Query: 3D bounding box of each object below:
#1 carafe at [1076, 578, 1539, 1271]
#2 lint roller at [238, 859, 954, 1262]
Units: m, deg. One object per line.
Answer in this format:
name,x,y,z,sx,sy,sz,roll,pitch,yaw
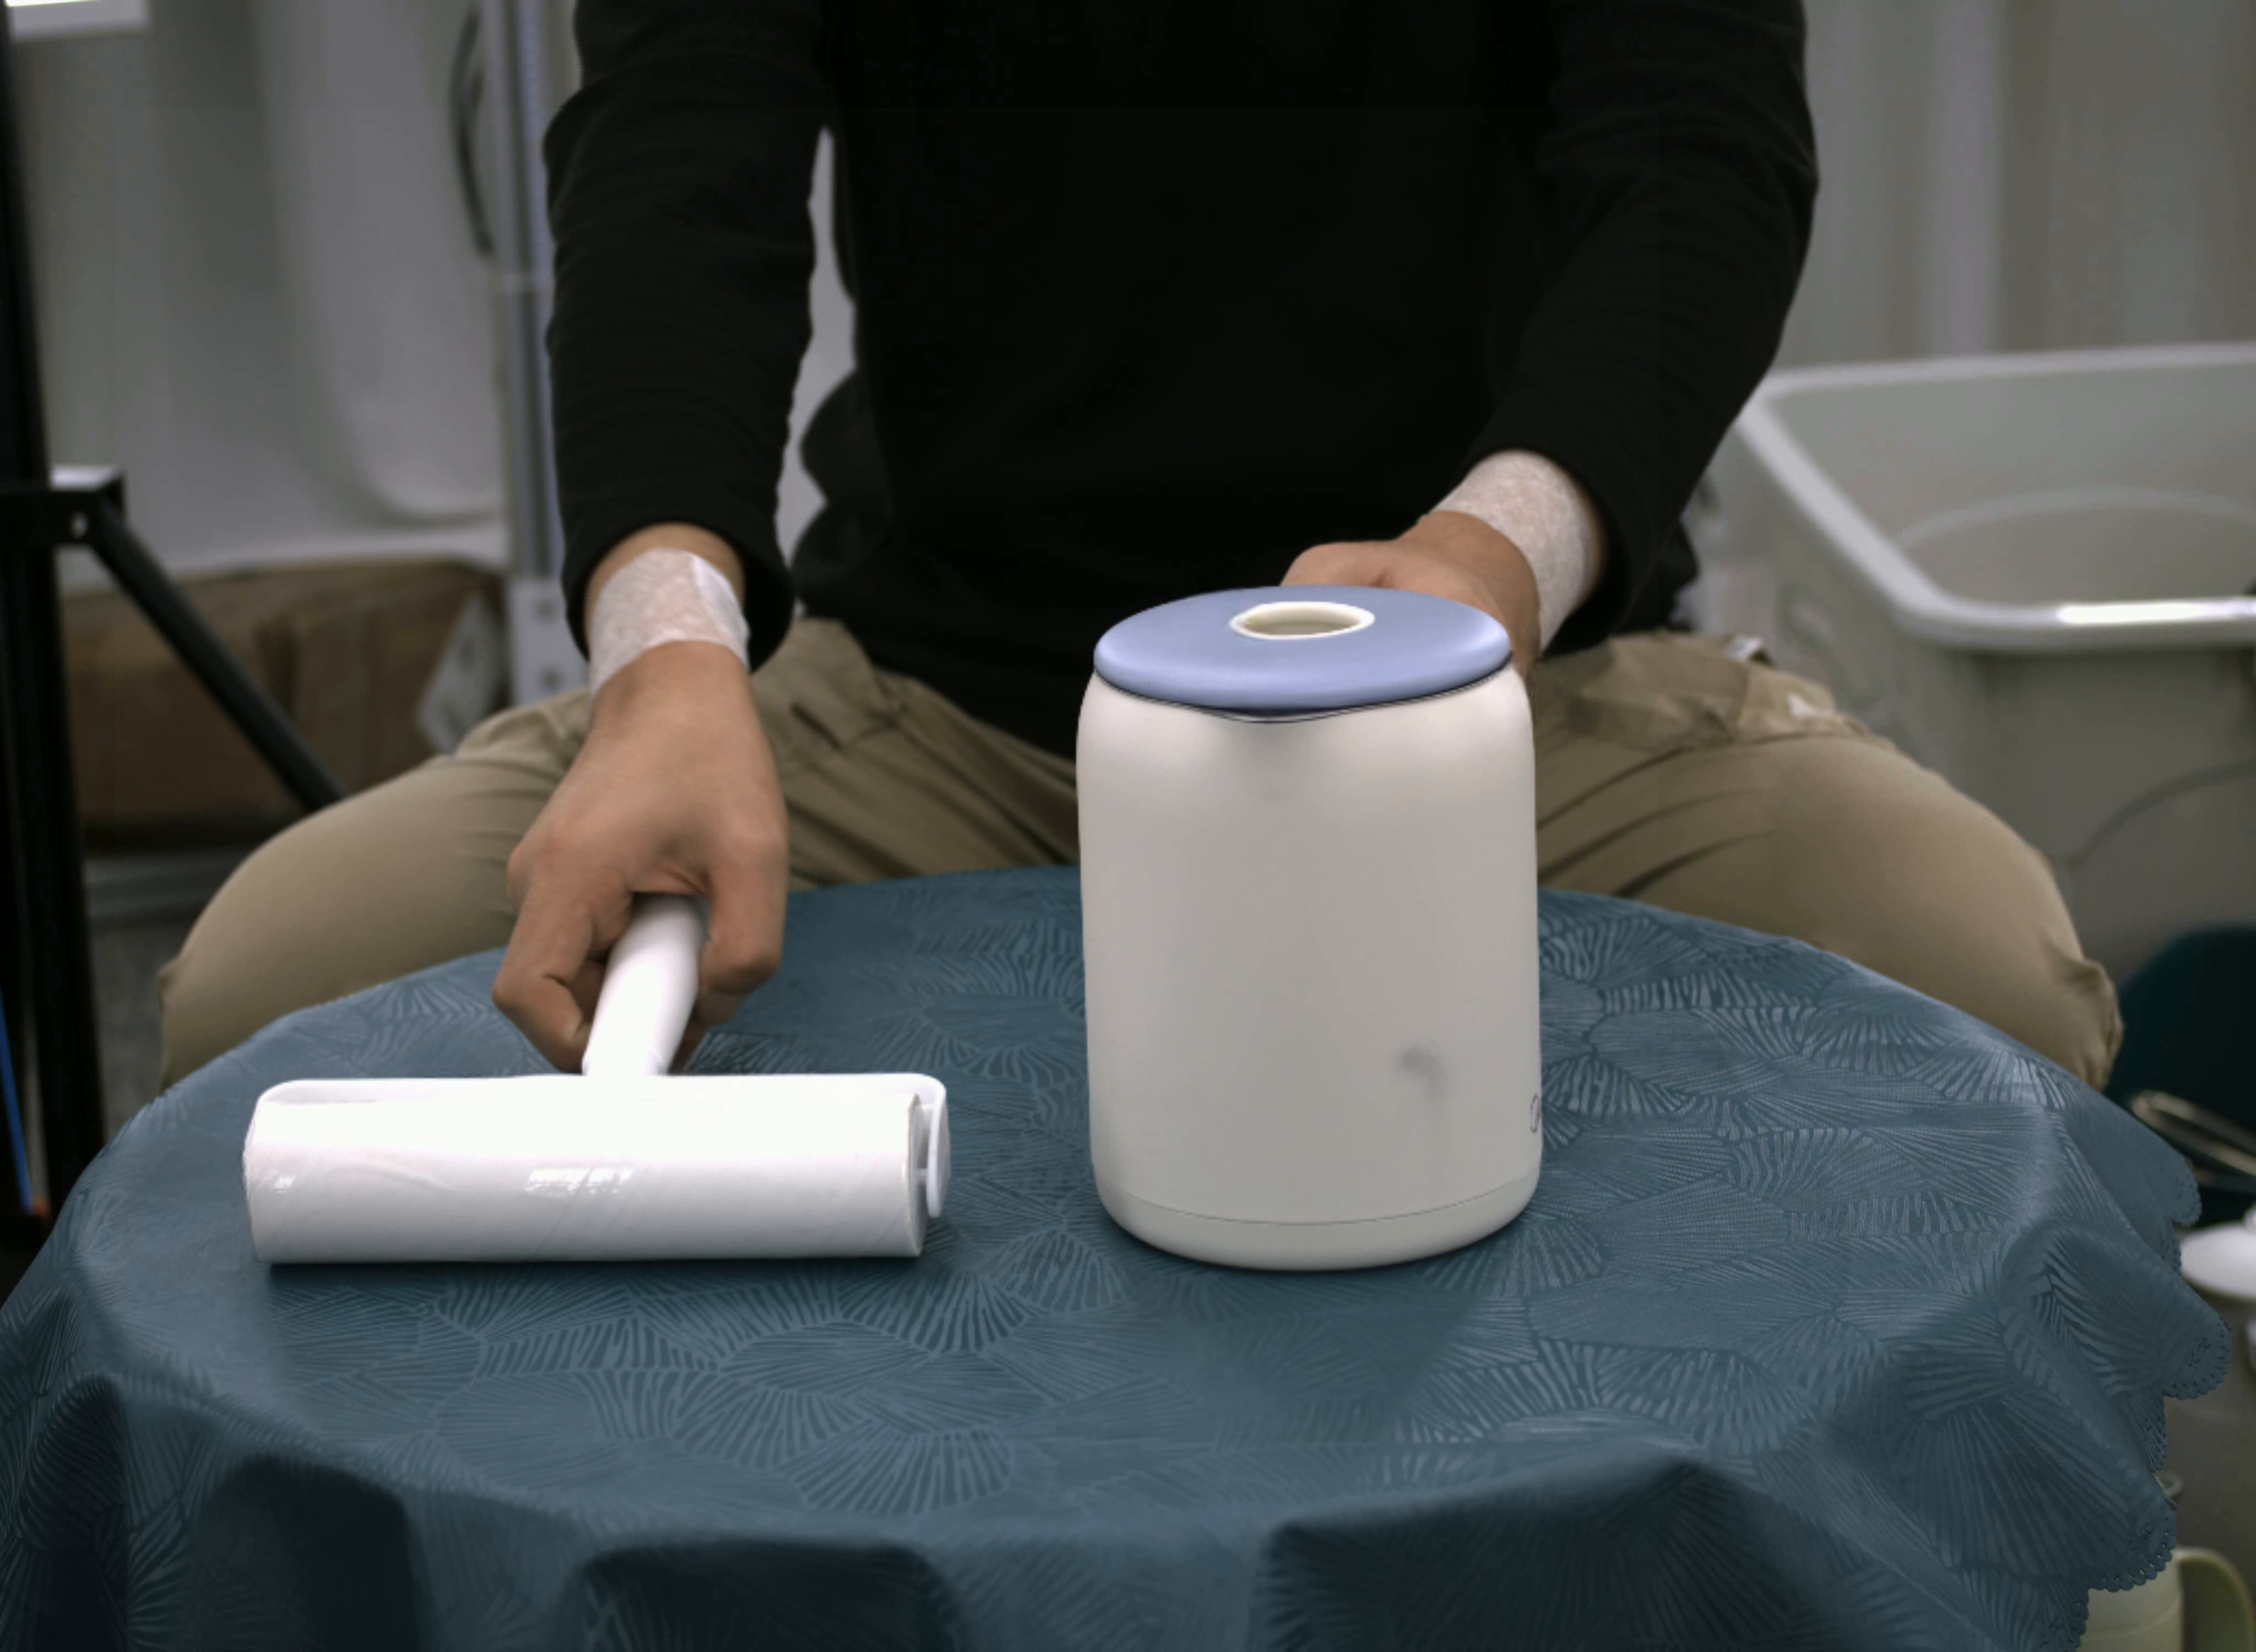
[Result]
carafe,0.055,0.021,1.541,0.132,0.182,0.190,1,13,8
lint roller,-0.148,0.060,1.603,0.203,0.048,0.226,-3,27,6
